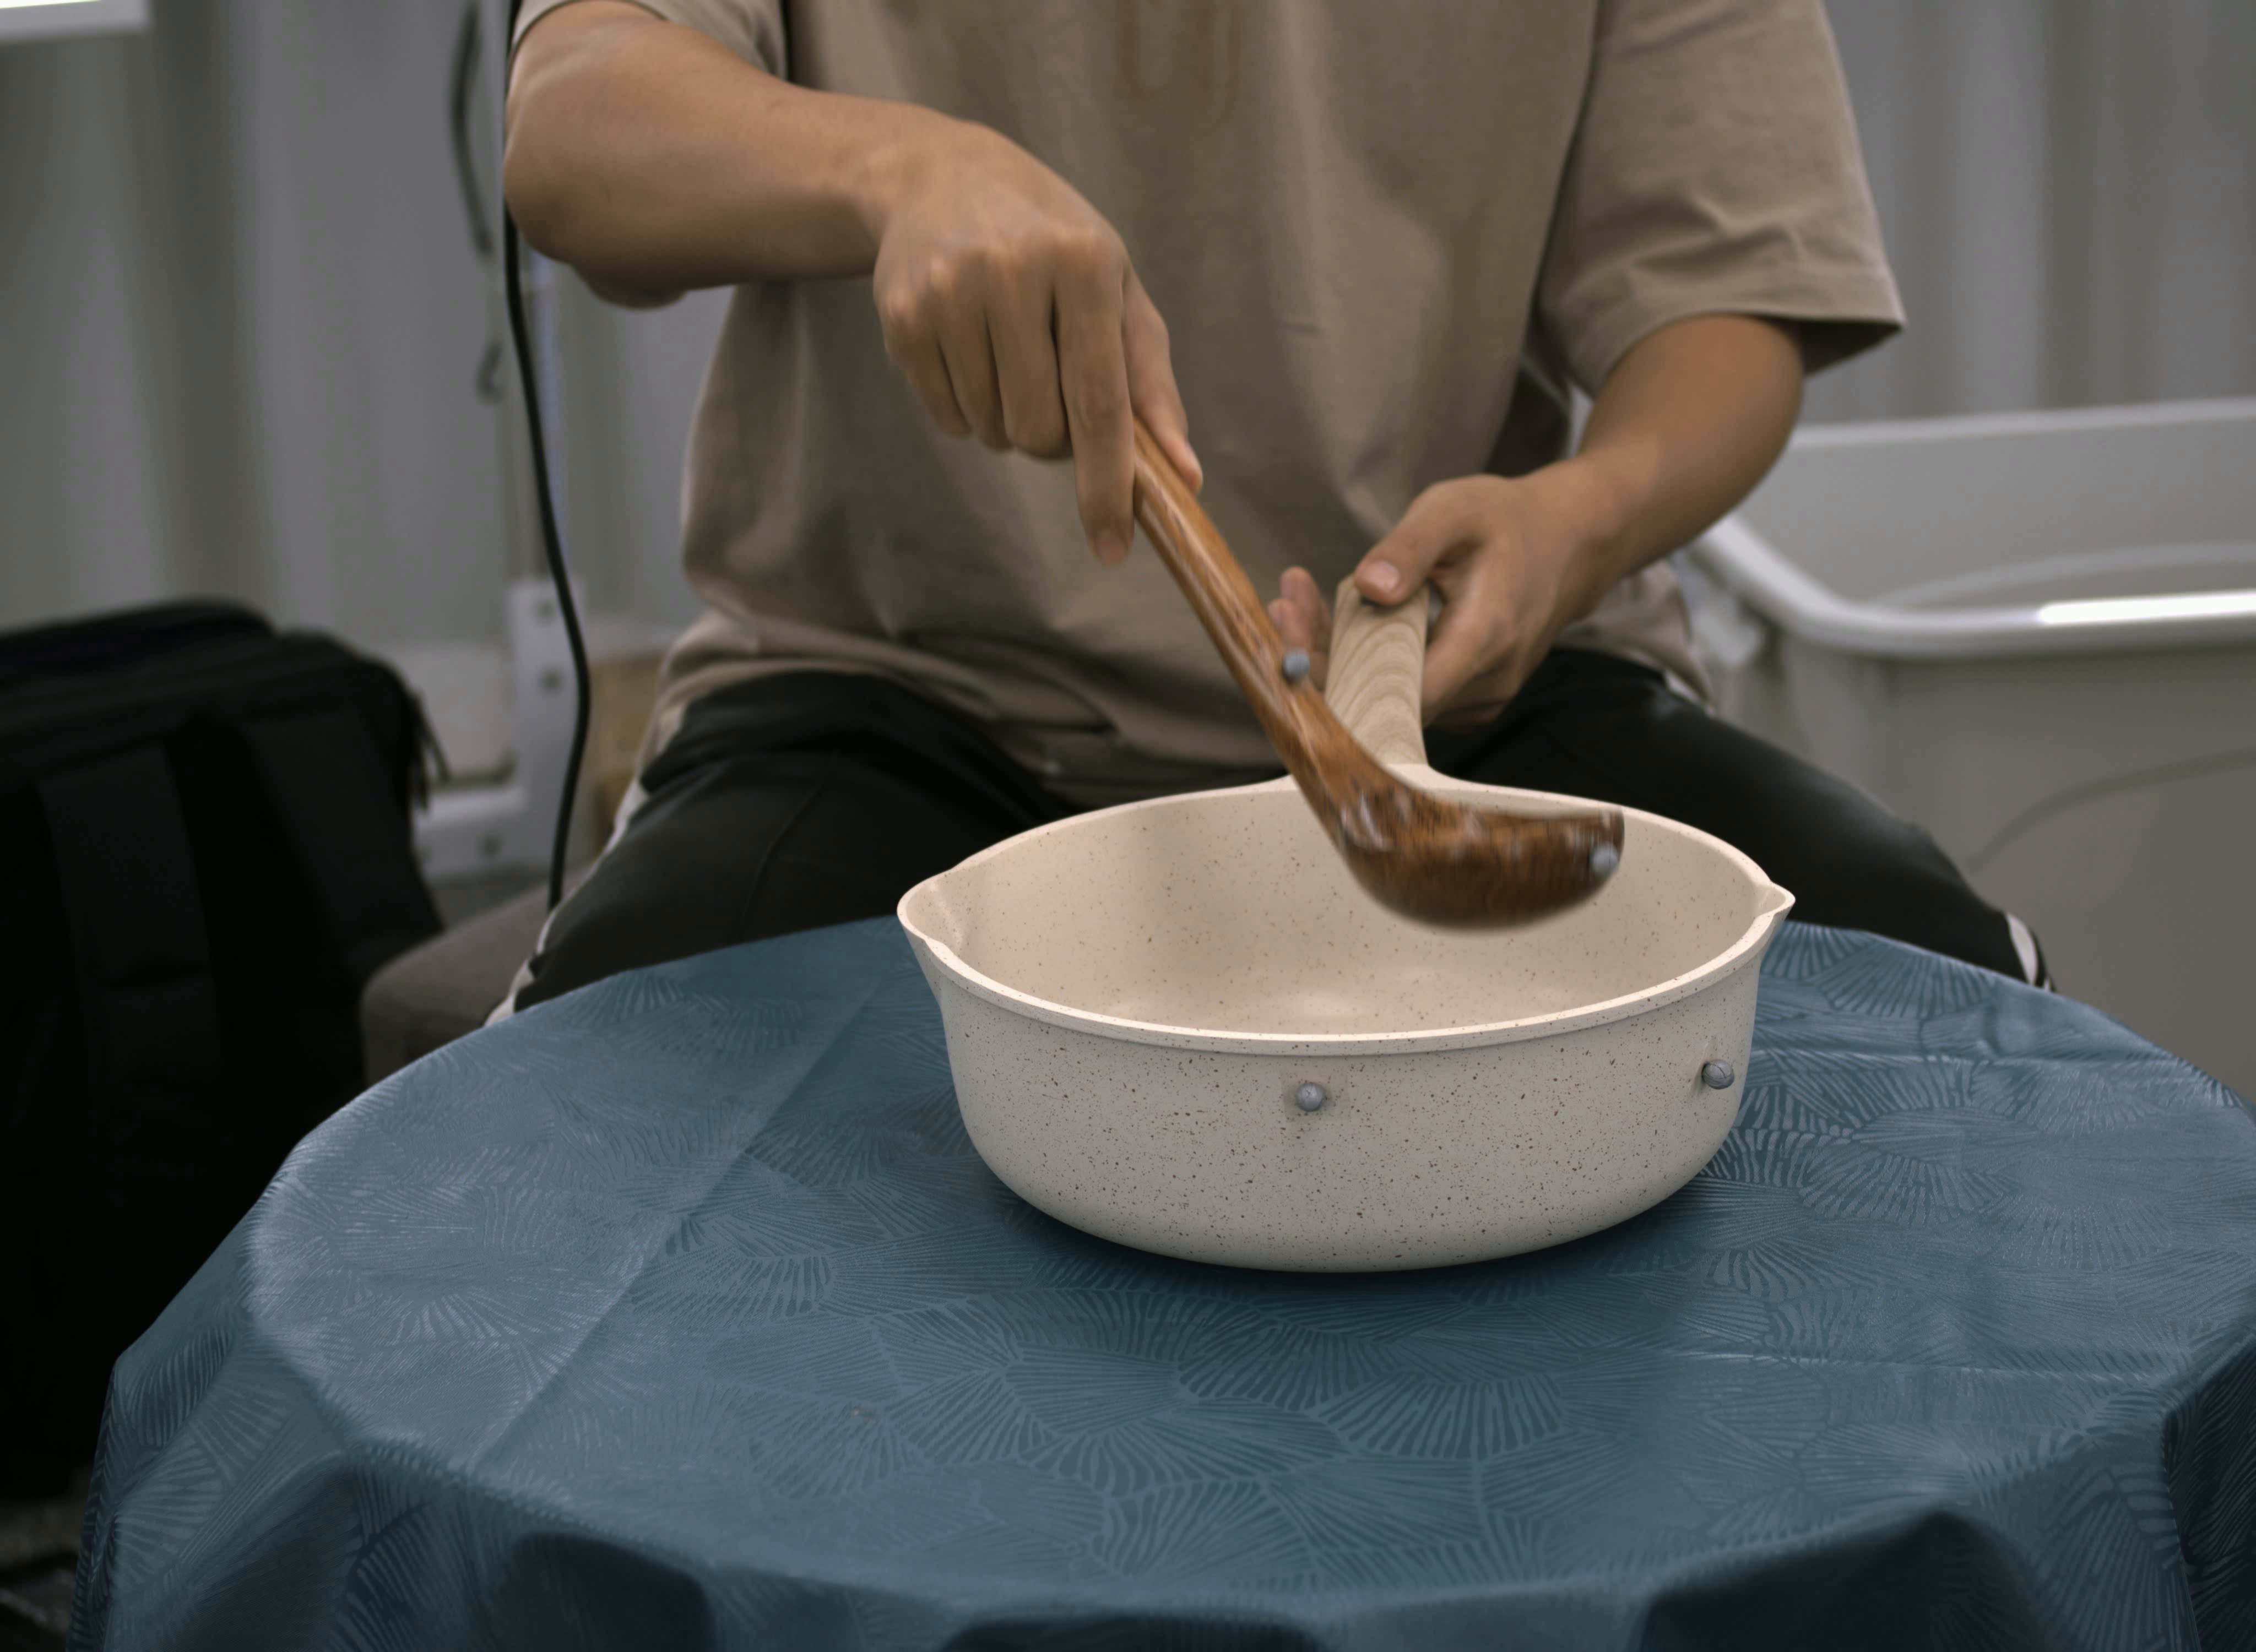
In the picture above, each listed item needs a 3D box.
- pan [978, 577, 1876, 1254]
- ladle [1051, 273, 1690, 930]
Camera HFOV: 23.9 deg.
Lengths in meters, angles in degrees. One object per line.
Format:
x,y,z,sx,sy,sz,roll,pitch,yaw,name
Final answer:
0.095,0.023,1.646,0.263,0.102,0.435,-2,16,6,pan
0.067,-0.077,1.552,0.080,0.077,0.278,-2,53,-49,ladle
